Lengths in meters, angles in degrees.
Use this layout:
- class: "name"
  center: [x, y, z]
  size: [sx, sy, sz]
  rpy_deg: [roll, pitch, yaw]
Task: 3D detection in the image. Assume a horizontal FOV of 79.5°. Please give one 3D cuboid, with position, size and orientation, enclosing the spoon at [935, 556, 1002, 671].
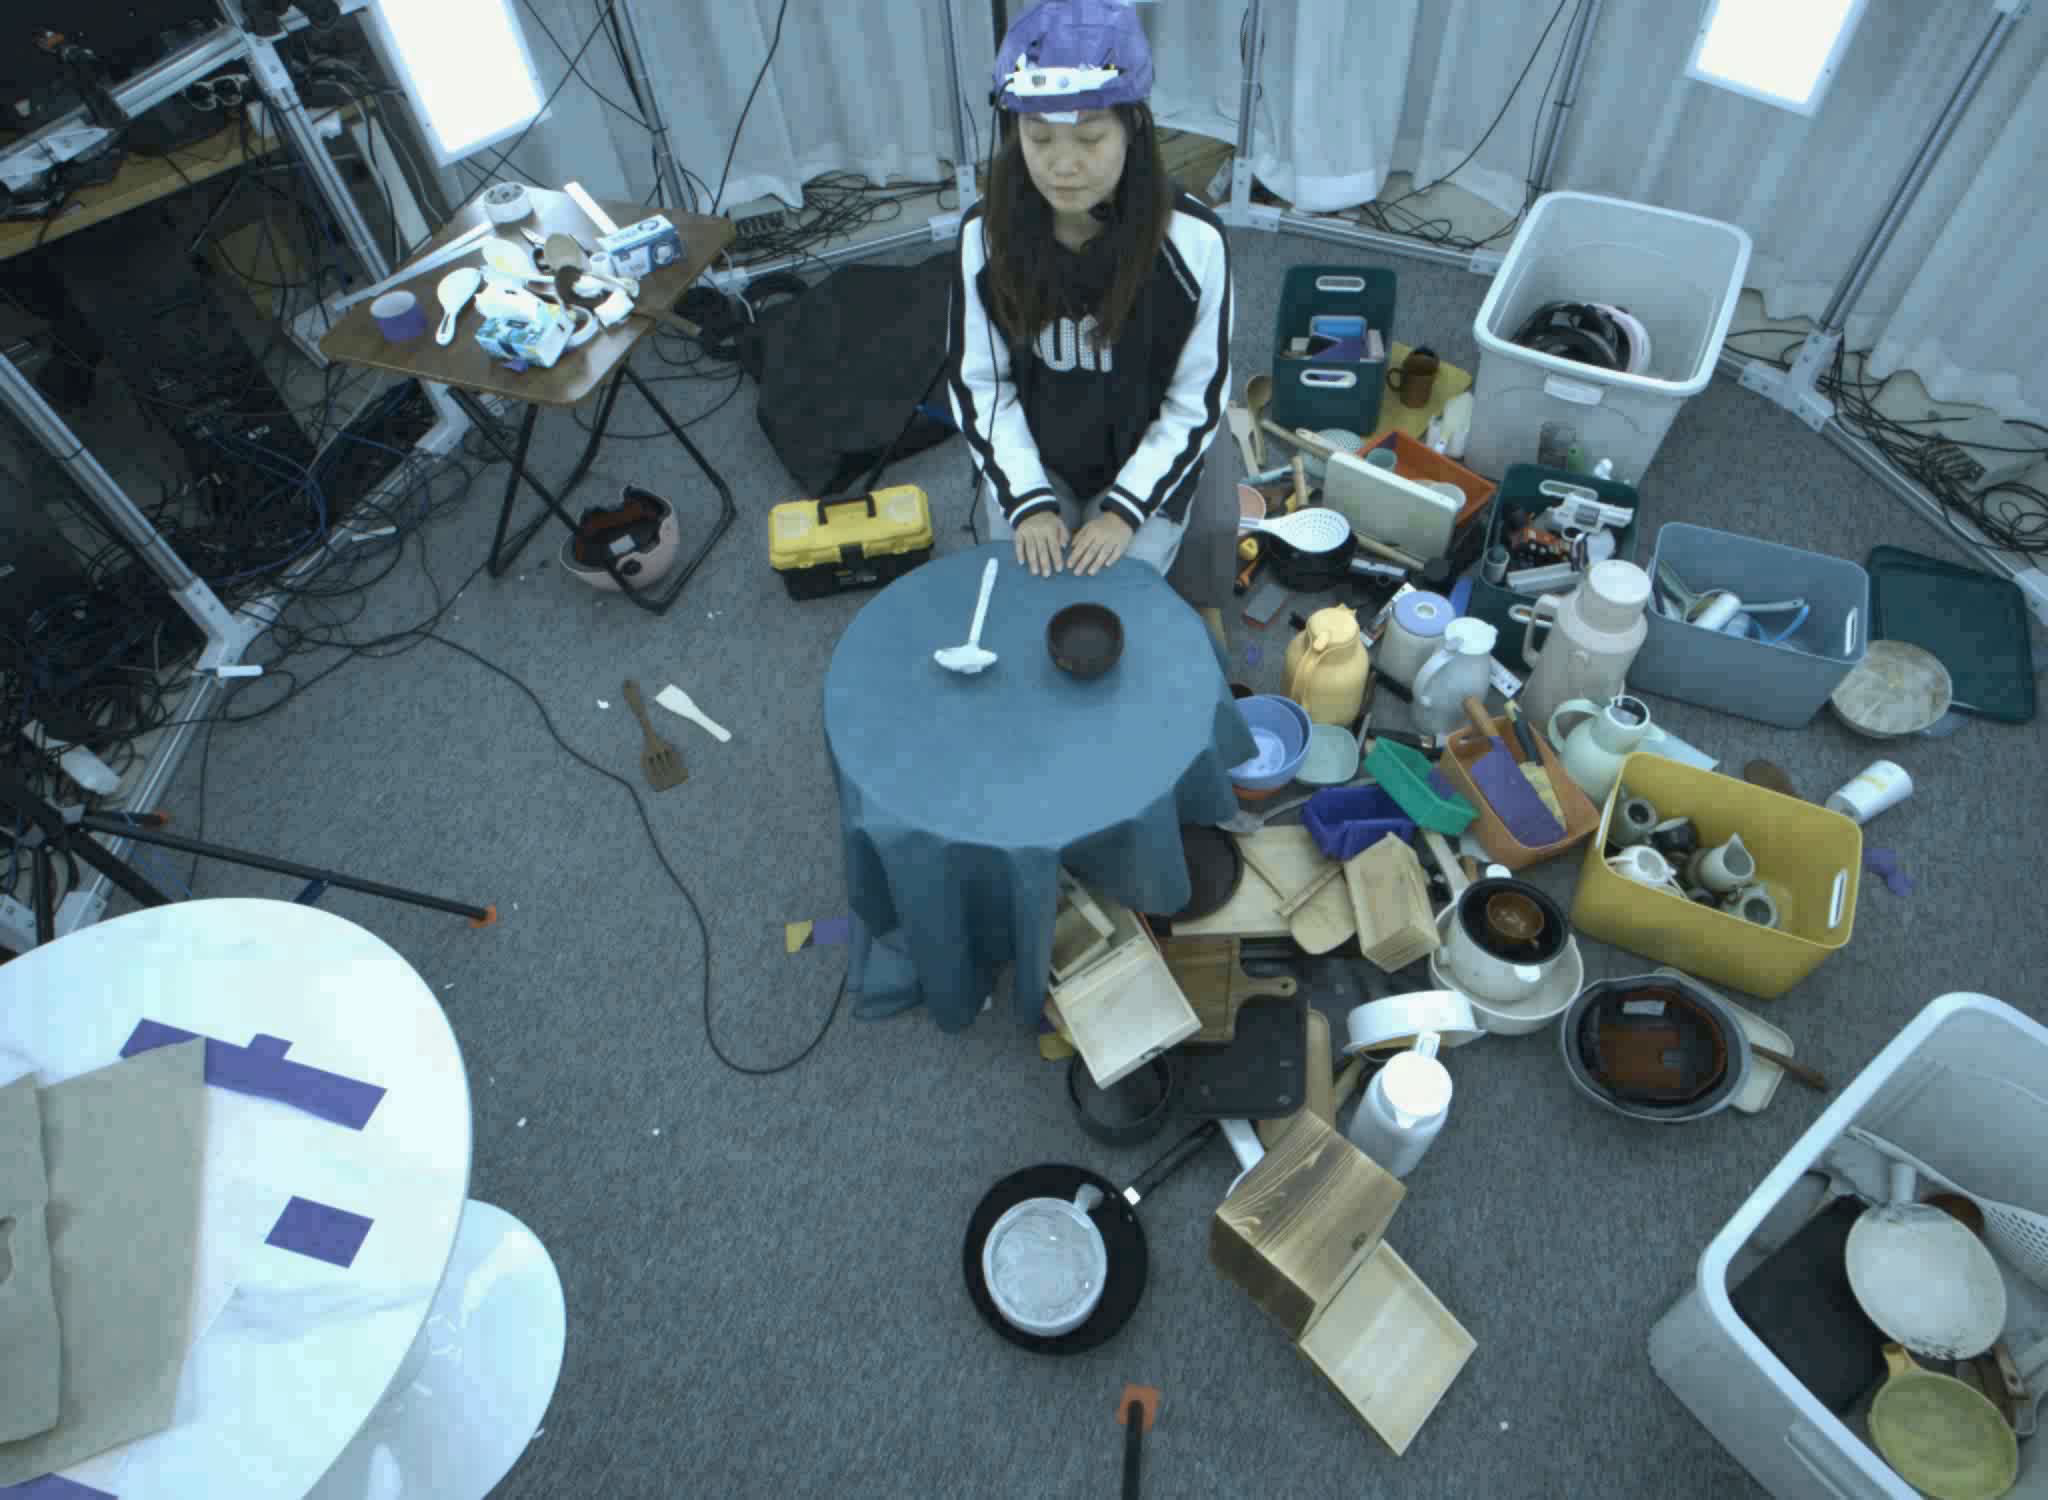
- class: "spoon"
  center: [-0.066, -0.221, 1.911]
  size: [0.100, 0.060, 0.276]
  rpy_deg: [9, 56, 6]

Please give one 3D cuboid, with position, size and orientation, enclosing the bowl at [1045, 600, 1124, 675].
- class: "bowl"
  center: [0.091, -0.160, 1.853]
  size: [0.118, 0.070, 0.117]
  rpy_deg: [0, 54, 2]
